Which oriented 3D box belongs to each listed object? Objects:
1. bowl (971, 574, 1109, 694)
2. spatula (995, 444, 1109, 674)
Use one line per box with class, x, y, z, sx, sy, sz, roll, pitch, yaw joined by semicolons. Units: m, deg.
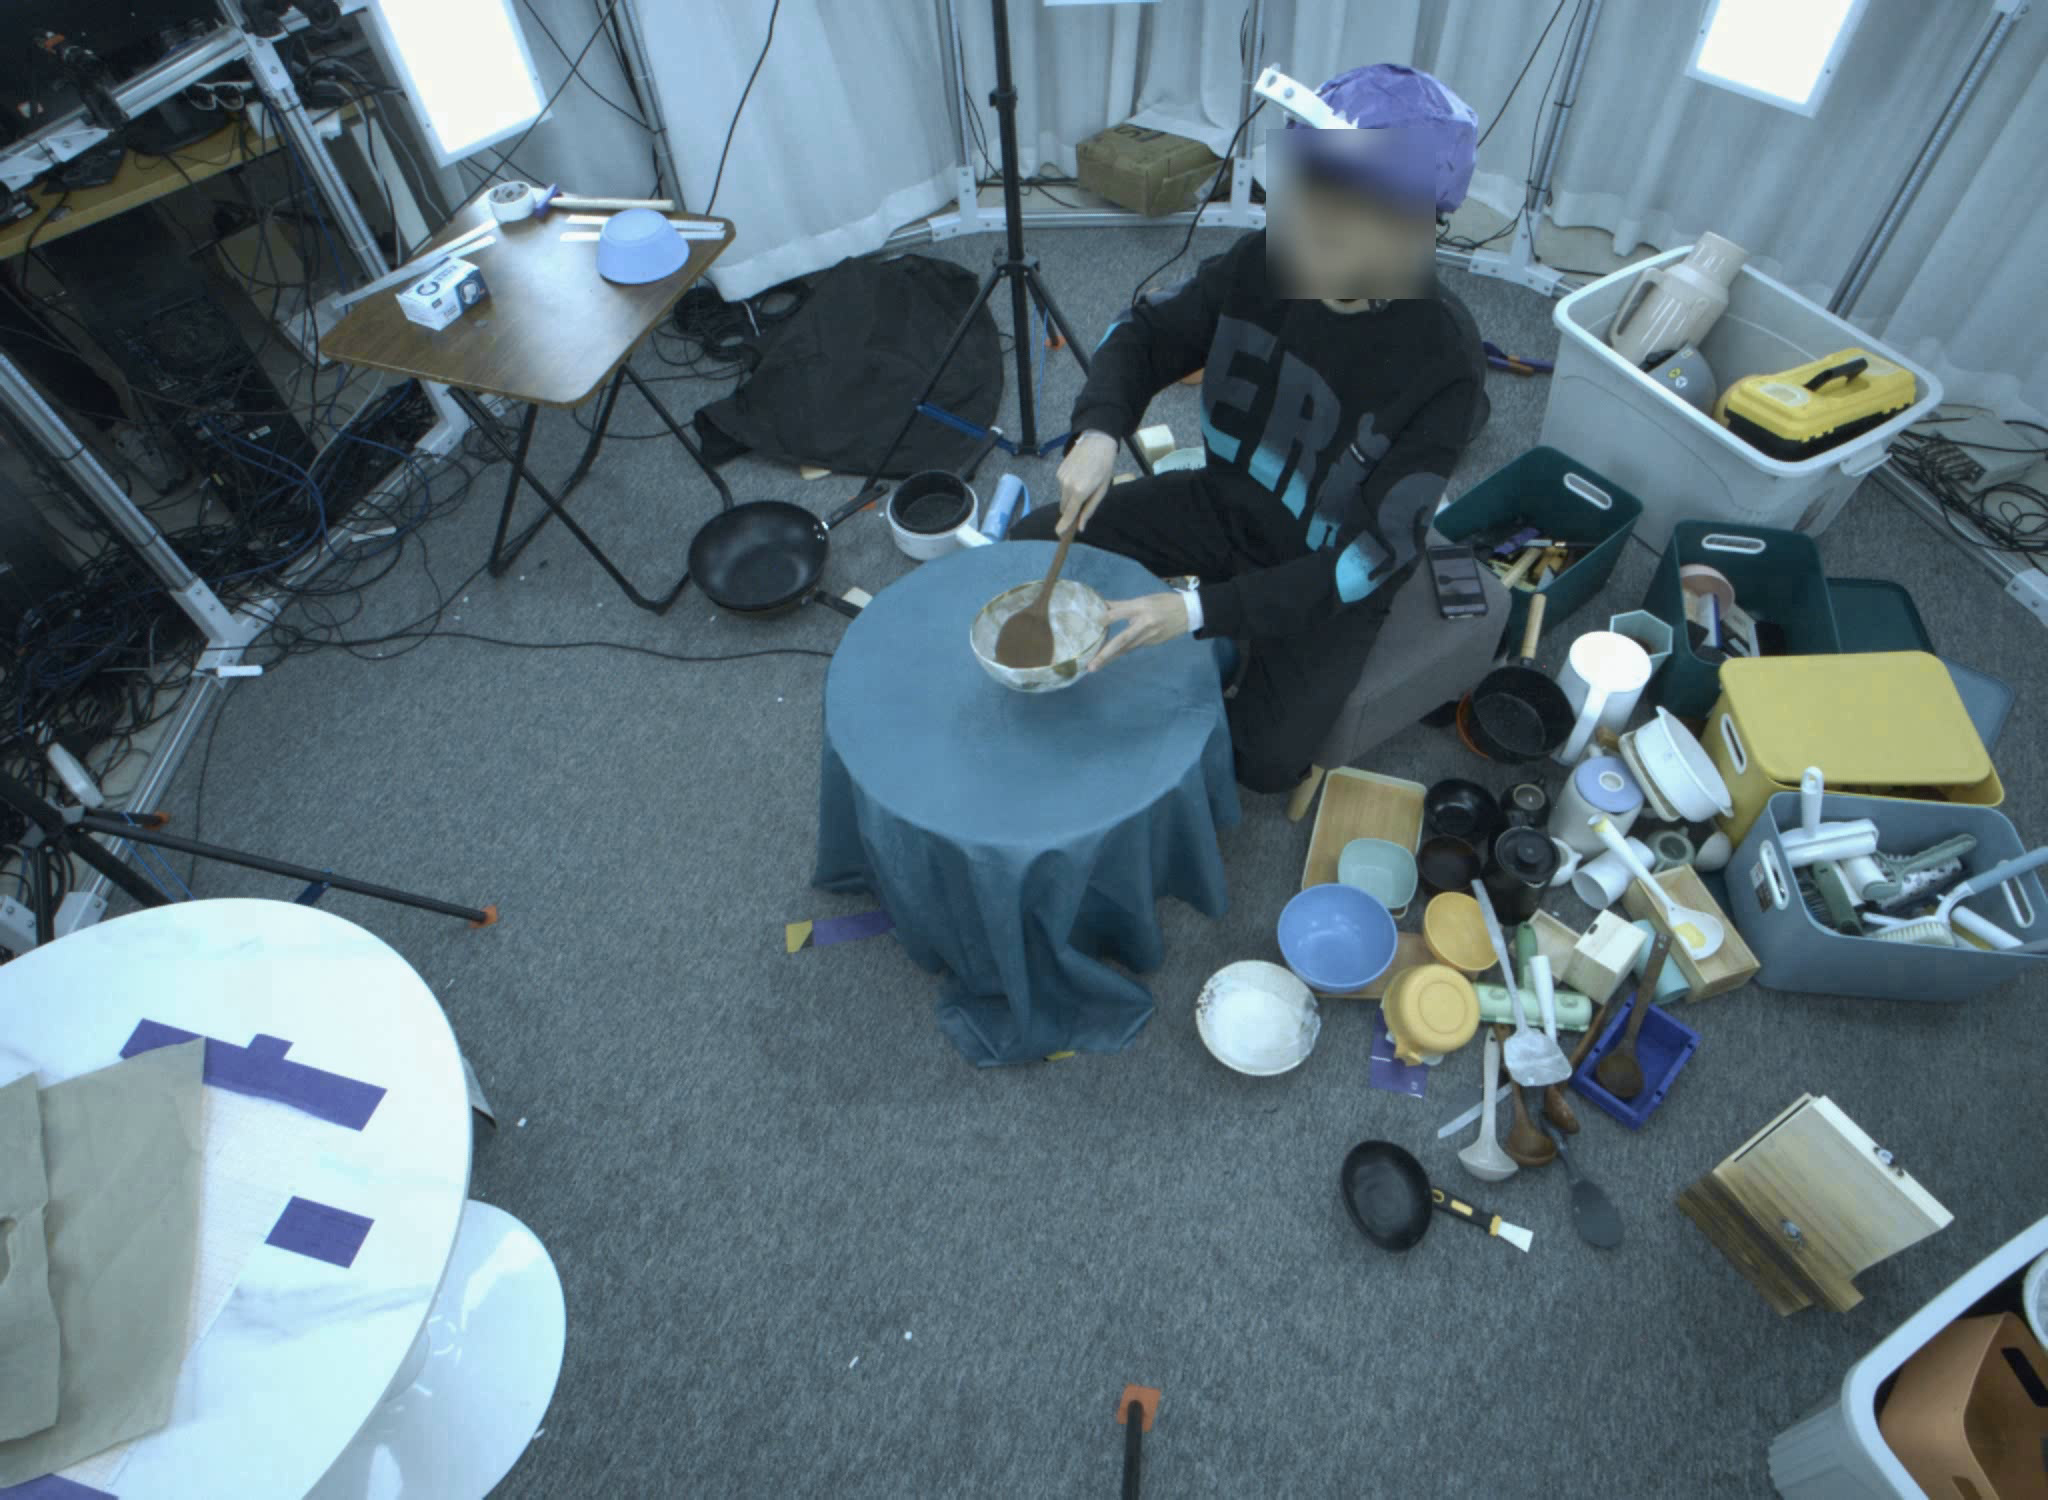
bowl;0.036;-0.154;1.778;0.213;0.096;0.212;-10;50;13
spatula;0.053;-0.286;1.814;0.015;0.098;0.385;8;74;58
